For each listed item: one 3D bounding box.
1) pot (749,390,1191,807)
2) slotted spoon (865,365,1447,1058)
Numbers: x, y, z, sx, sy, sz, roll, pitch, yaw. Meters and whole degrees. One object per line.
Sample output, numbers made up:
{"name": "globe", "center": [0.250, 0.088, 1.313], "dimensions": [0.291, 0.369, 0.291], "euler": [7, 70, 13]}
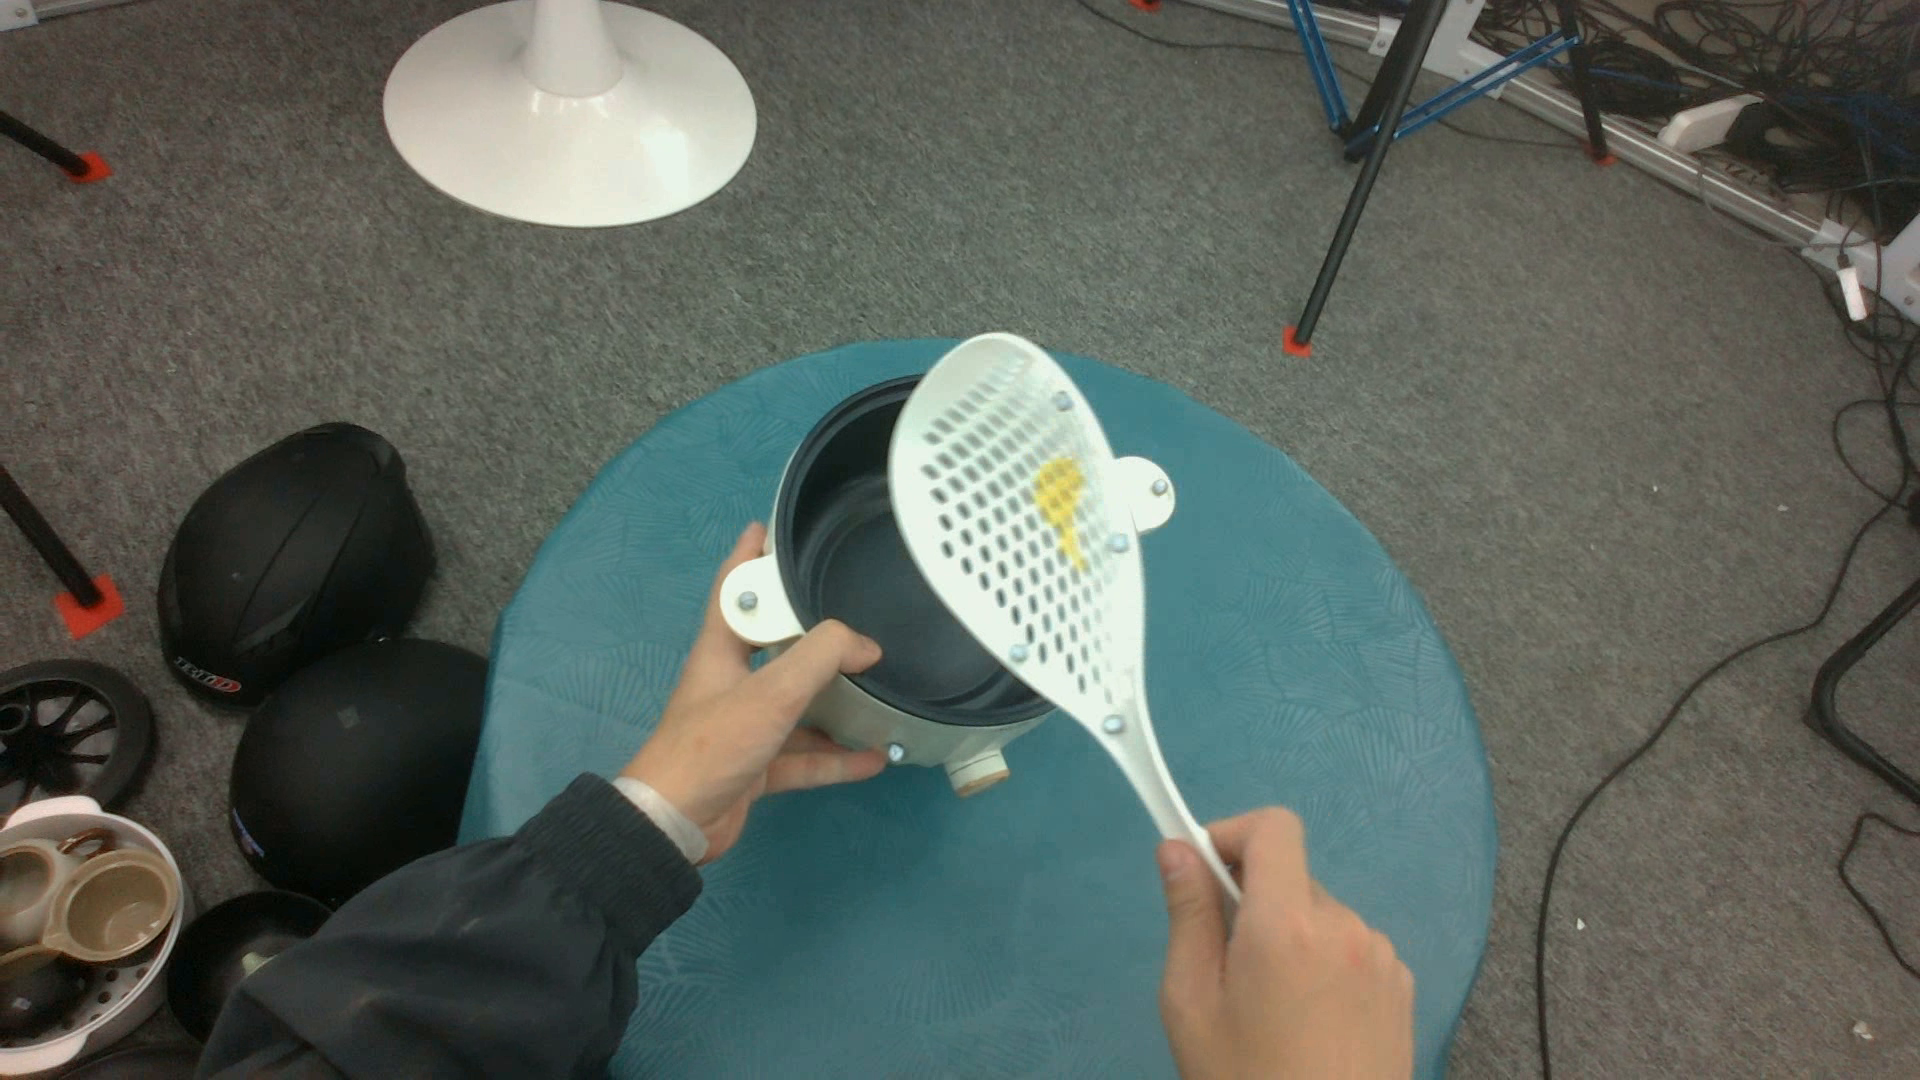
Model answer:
{"name": "pot", "center": [0.002, 0.036, 0.721], "dimensions": [0.241, 0.142, 0.191], "euler": [-20, 69, -20]}
{"name": "slotted spoon", "center": [0.078, 0.075, 0.585], "dimensions": [0.050, 0.136, 0.348], "euler": [-17, 66, -42]}
